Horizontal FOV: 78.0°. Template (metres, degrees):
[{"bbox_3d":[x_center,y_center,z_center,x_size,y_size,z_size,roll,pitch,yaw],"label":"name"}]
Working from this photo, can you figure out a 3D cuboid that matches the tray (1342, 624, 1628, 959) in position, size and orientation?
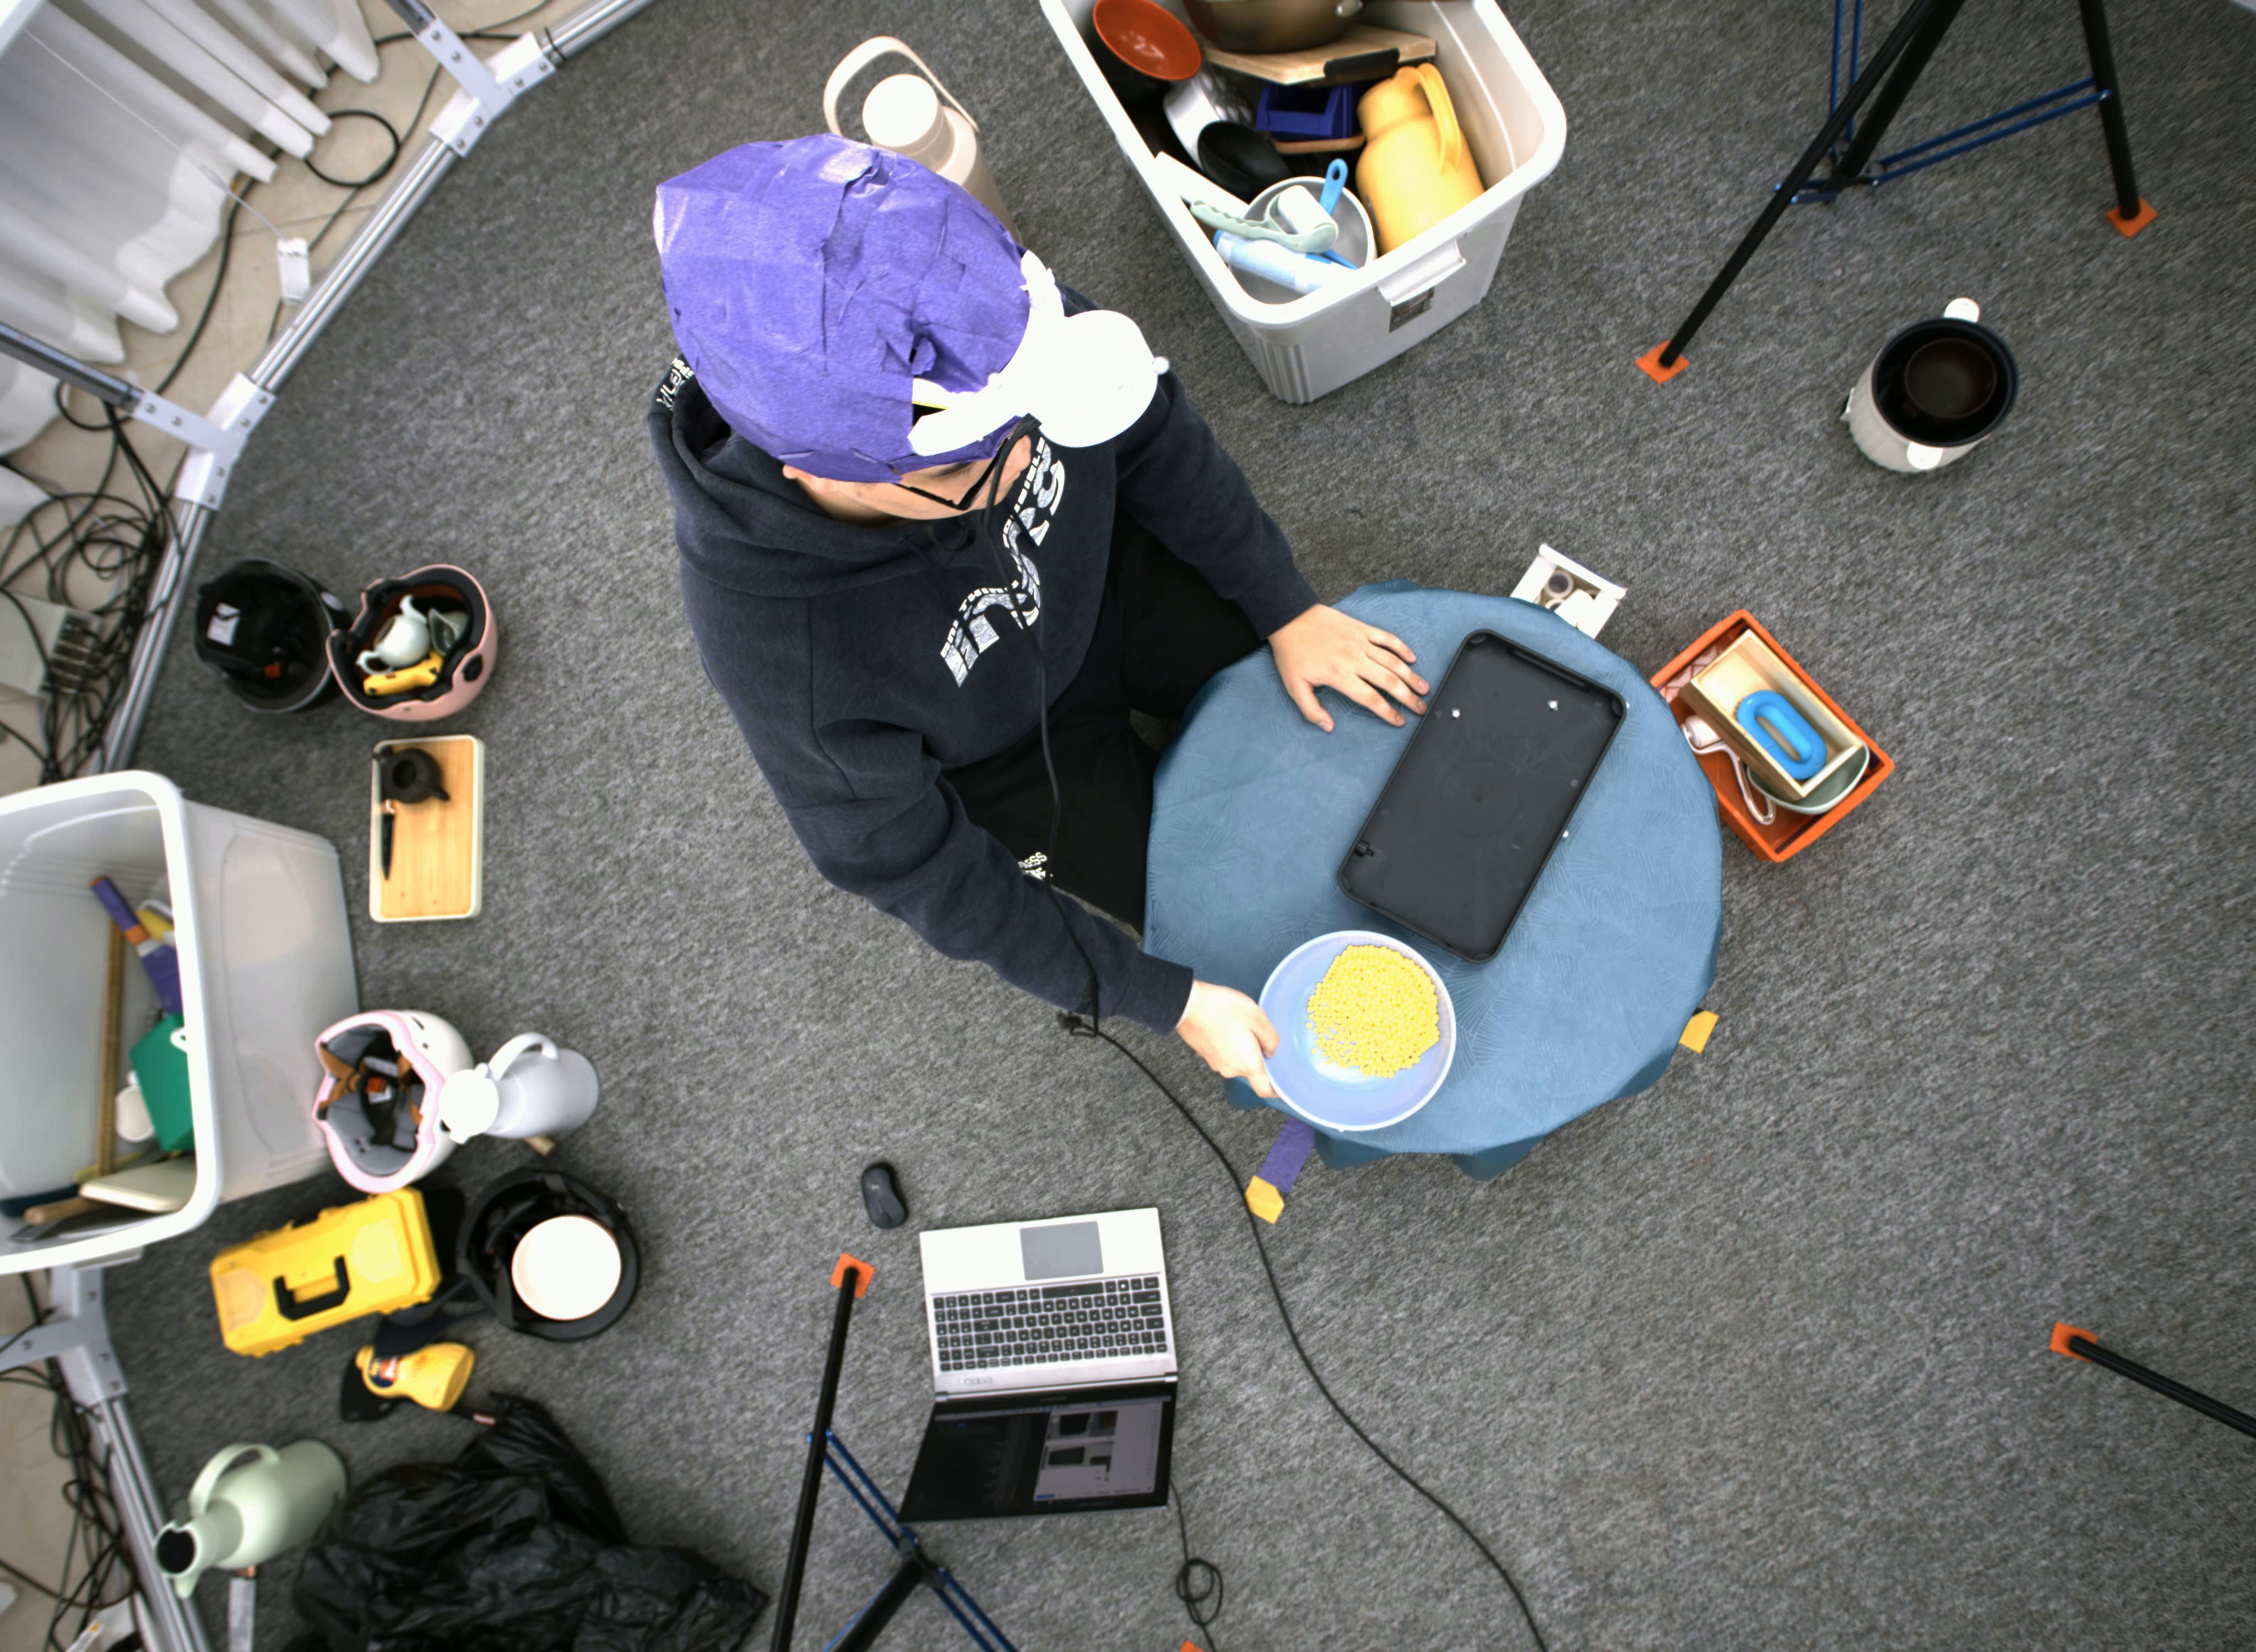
[{"bbox_3d":[0.370,-0.038,1.431,0.184,0.037,0.318,27,93,12],"label":"tray"}]

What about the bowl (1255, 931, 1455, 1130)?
[{"bbox_3d":[0.231,0.205,1.411,0.197,0.095,0.195,-1,86,10],"label":"bowl"}]
